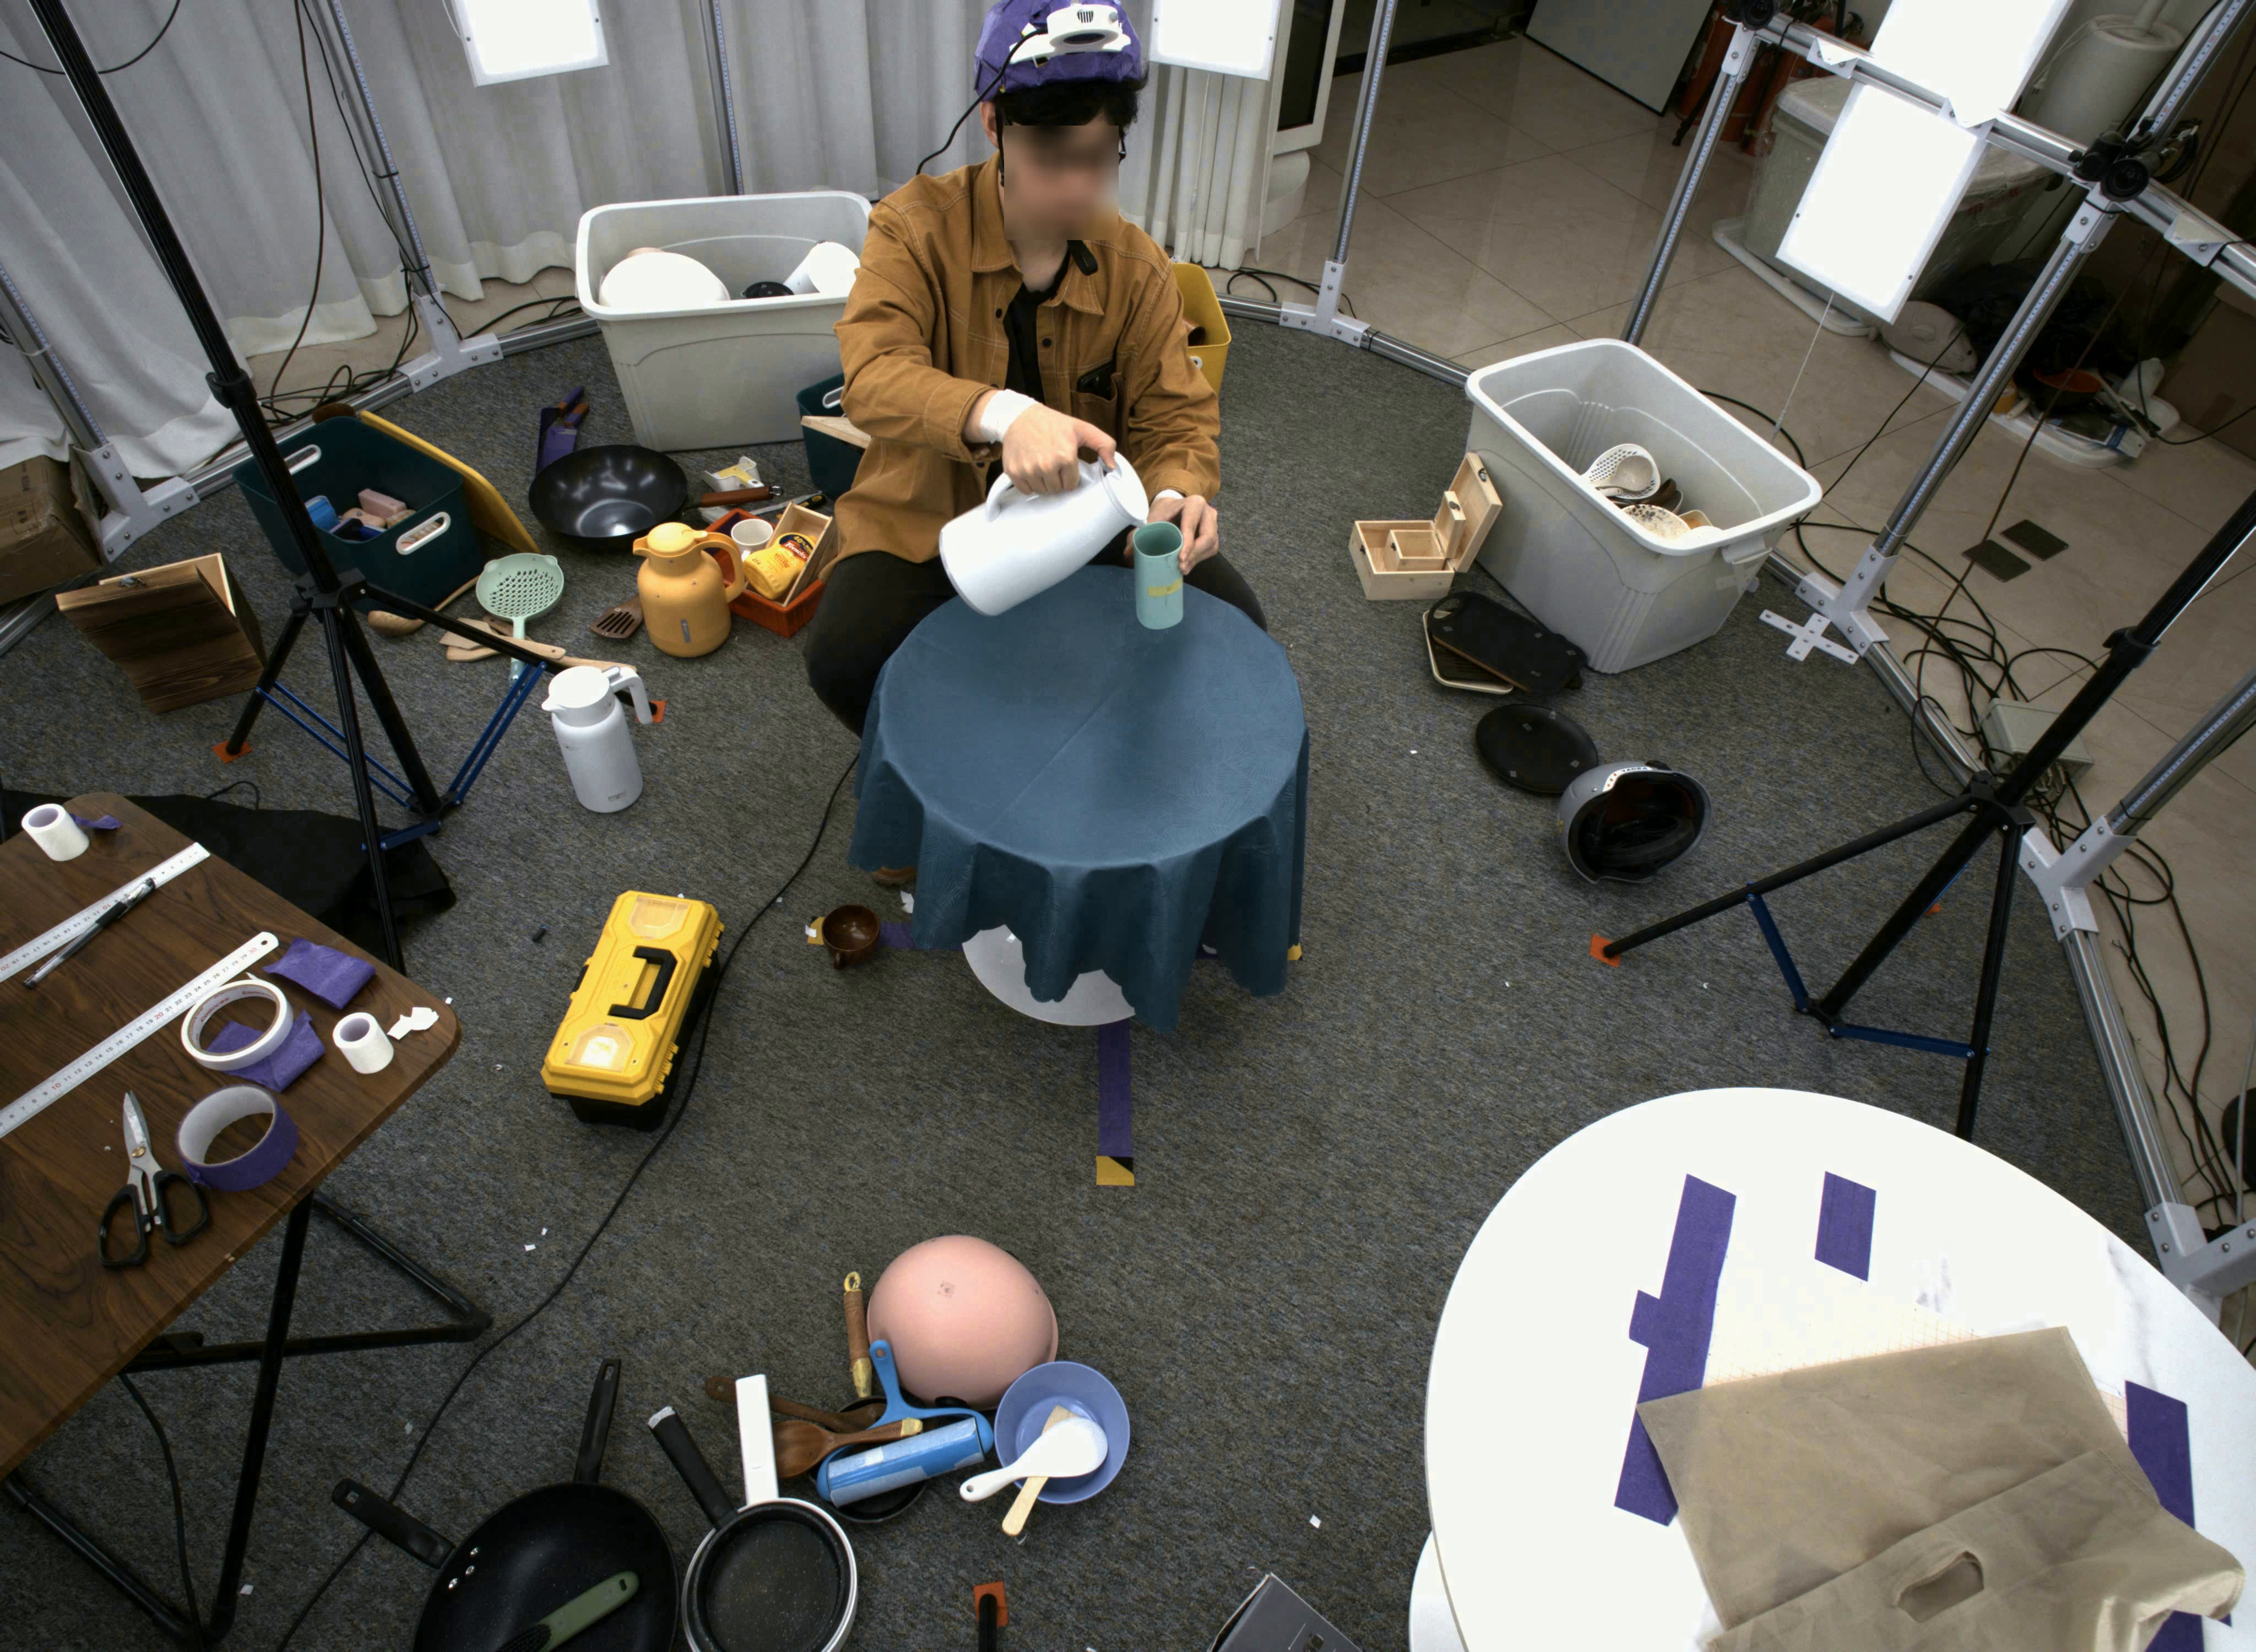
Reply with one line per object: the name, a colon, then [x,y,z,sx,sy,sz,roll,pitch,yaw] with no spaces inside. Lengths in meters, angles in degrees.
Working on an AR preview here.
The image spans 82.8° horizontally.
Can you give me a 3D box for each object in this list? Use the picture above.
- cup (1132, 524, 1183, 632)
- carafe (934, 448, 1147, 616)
cup: [0.039,-0.320,1.659,0.067,0.129,0.068,-1,54,2]
carafe: [-0.110,-0.373,1.563,0.247,0.164,0.135,-22,55,27]
